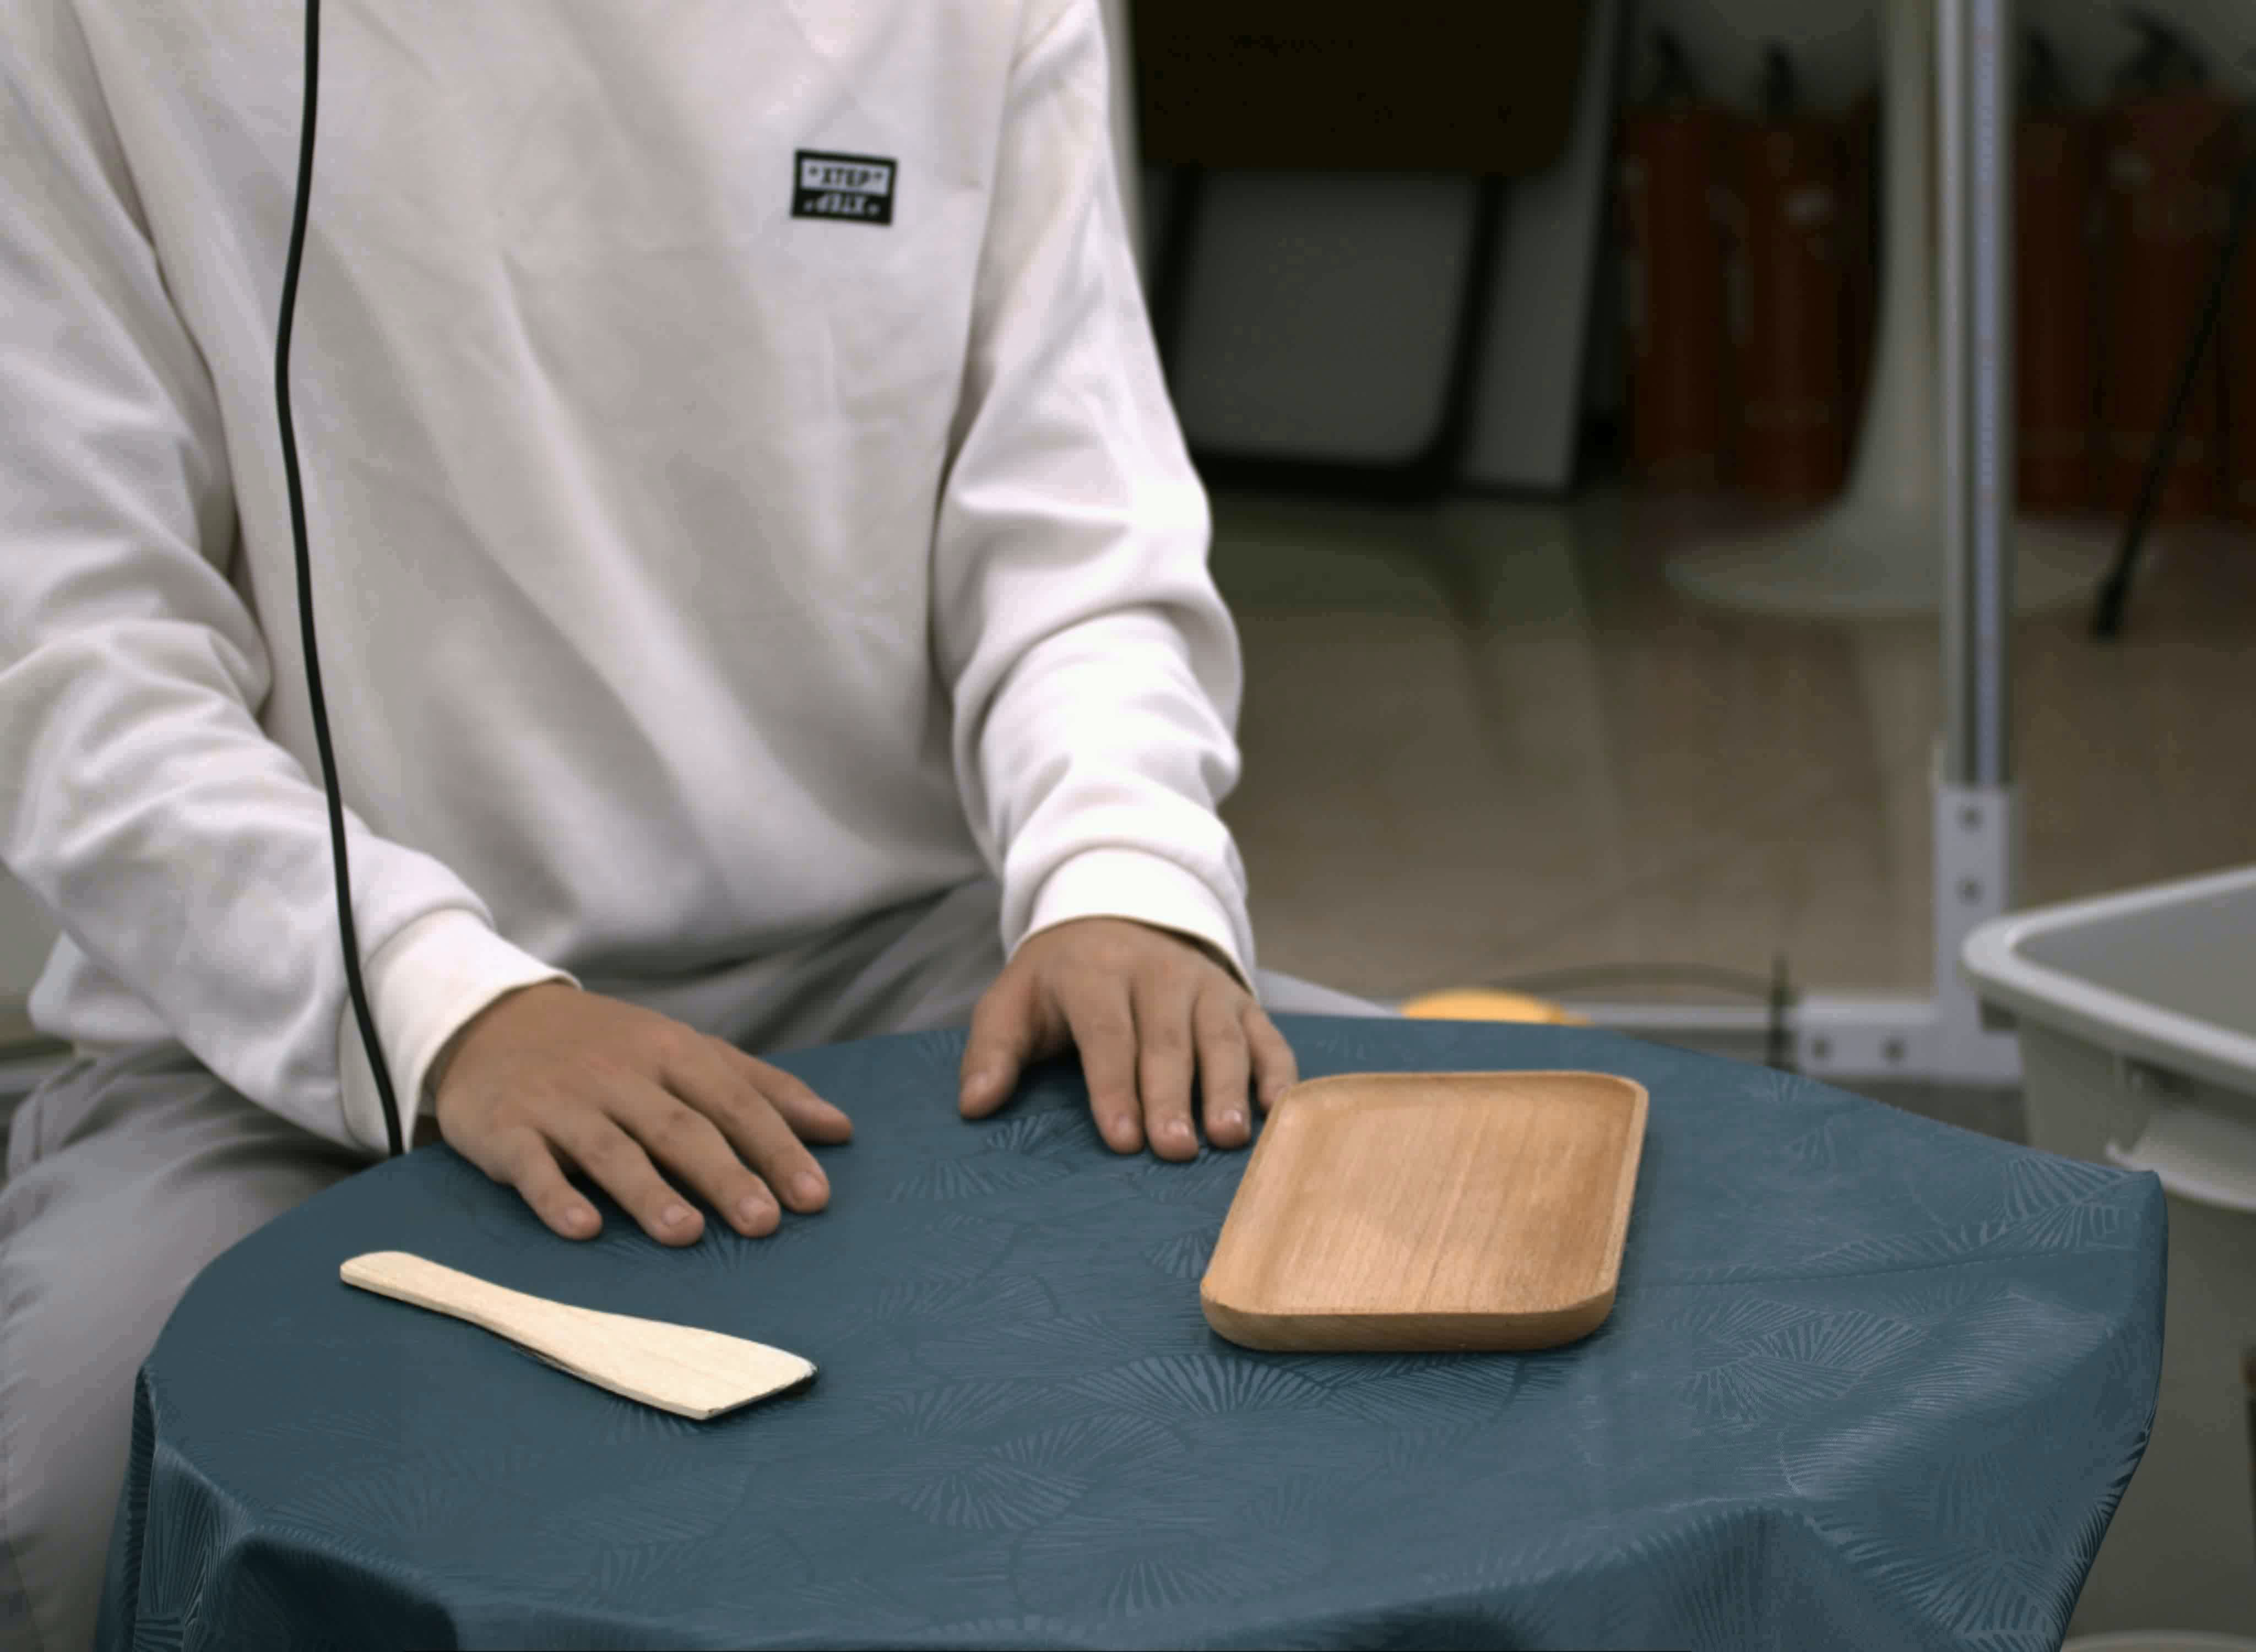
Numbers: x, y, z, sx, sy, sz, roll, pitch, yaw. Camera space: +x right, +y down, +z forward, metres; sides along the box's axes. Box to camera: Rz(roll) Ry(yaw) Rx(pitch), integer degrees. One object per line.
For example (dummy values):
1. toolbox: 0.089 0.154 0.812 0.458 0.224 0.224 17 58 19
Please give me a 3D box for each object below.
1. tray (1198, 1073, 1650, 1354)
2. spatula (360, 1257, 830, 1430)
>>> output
1. tray: 0.098 0.121 1.713 0.129 0.023 0.249 1 13 9
2. spatula: -0.172 0.156 1.662 0.049 0.005 0.210 -14 17 -39
